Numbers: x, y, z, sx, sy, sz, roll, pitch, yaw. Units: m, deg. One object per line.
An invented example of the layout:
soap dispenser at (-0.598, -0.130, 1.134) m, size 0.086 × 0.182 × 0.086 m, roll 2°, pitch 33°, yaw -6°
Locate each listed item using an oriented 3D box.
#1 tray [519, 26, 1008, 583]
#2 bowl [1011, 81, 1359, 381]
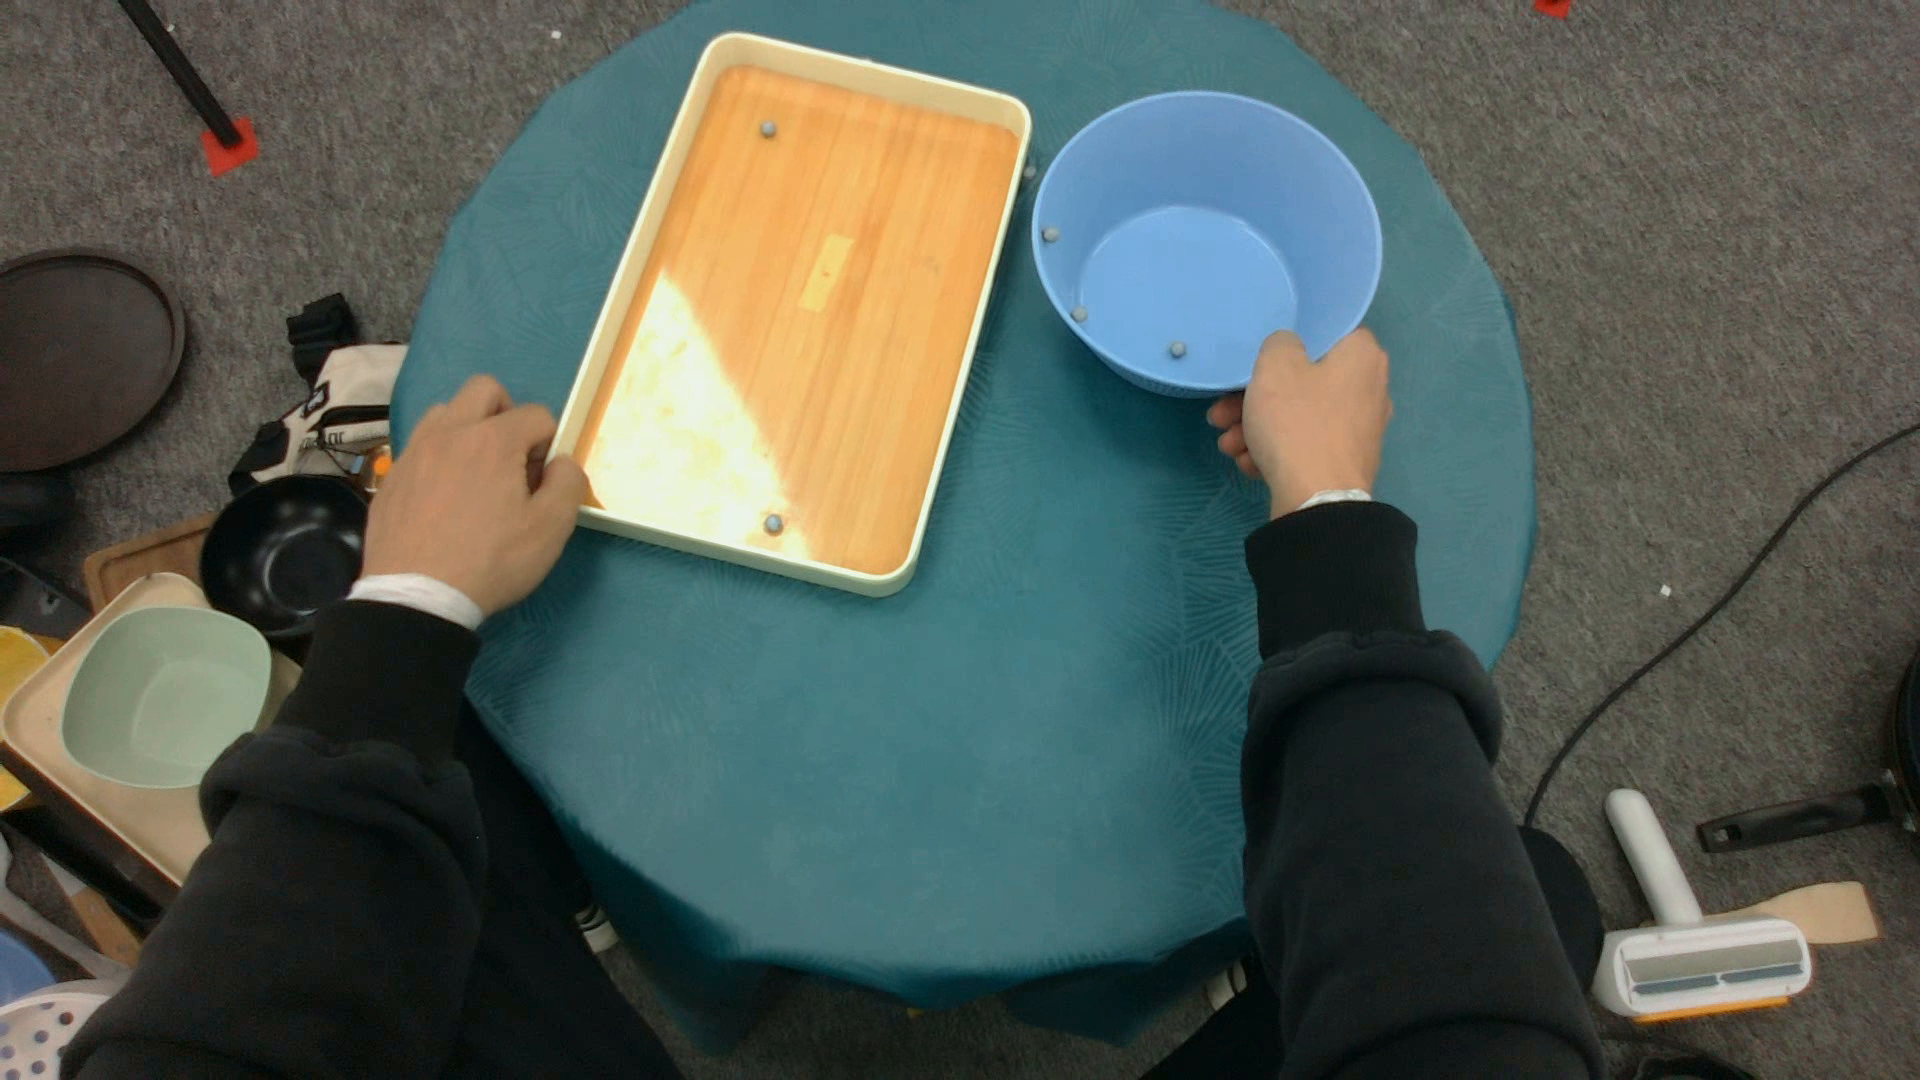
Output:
tray at (-0.095, -0.134, 0.732) m, size 0.191 × 0.027 × 0.301 m, roll 13°, pitch 68°, yaw 1°
bowl at (0.114, -0.150, 0.725) m, size 0.176 × 0.070 × 0.176 m, roll 0°, pitch 67°, yaw 0°
